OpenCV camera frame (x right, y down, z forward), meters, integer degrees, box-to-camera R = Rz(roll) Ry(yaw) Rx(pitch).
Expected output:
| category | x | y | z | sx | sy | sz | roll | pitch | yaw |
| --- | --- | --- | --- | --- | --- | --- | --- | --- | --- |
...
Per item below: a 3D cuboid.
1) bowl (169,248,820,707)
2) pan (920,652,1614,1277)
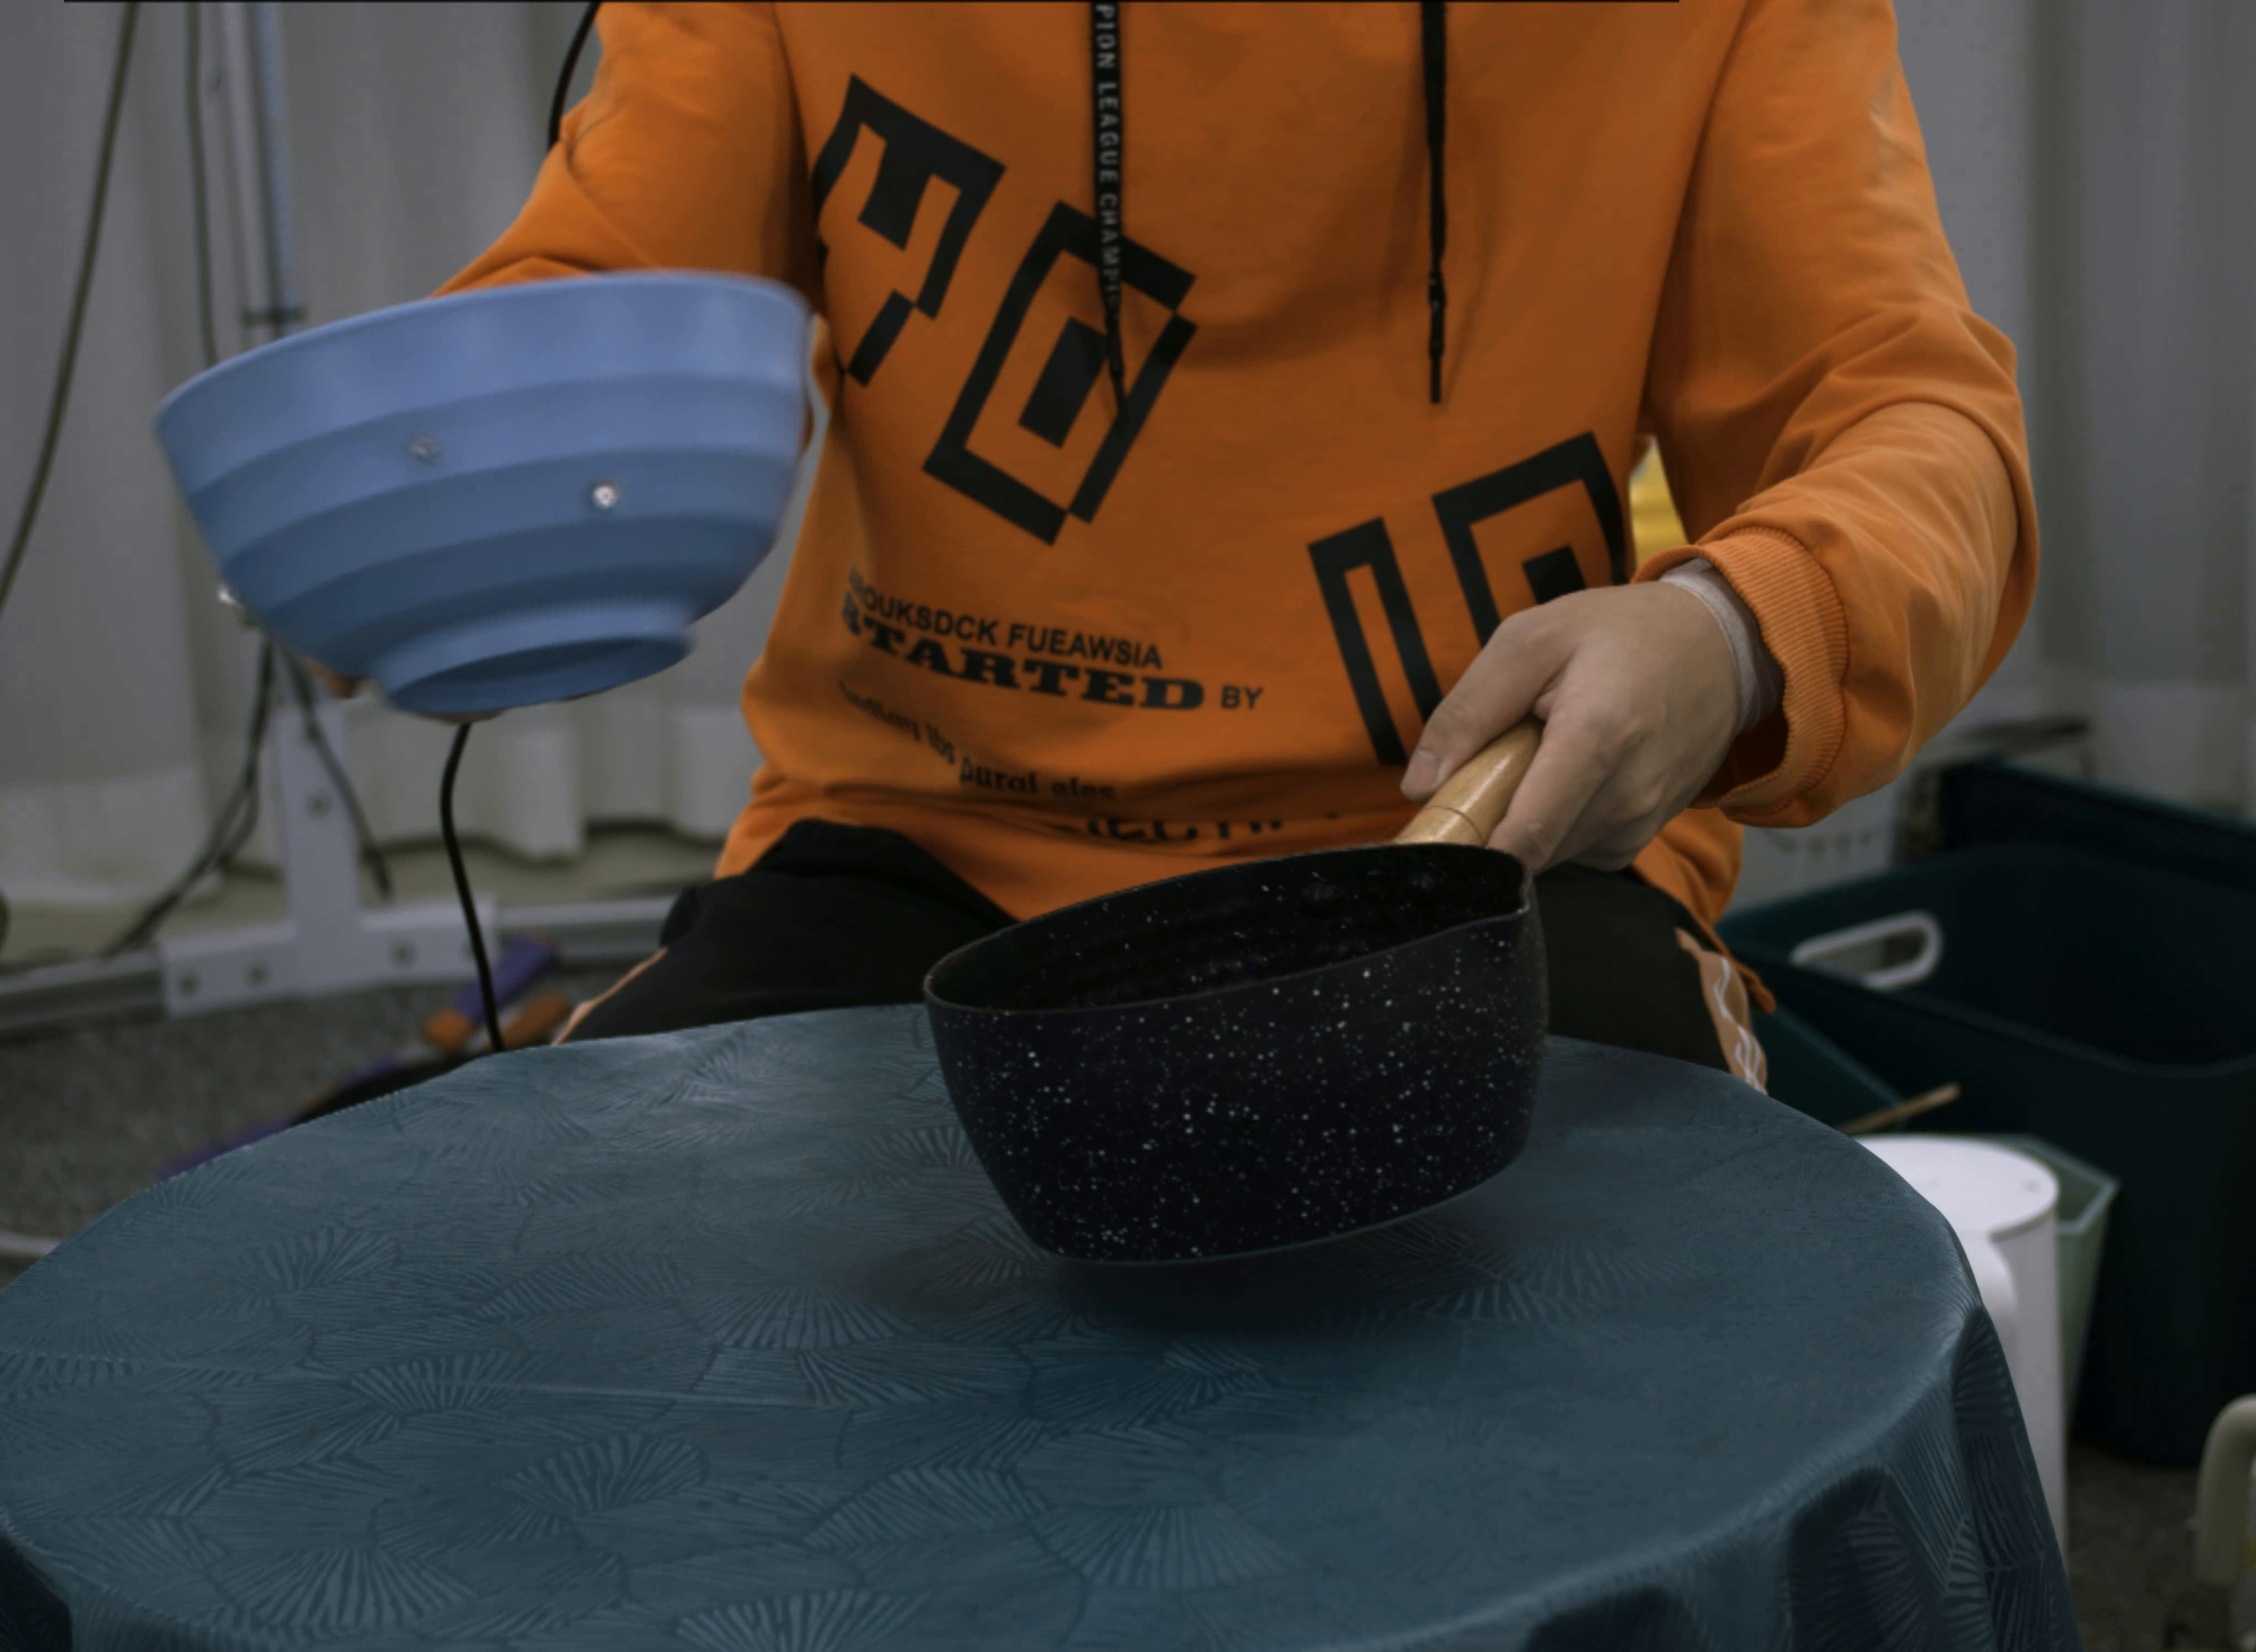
| category | x | y | z | sx | sy | sz | roll | pitch | yaw |
| --- | --- | --- | --- | --- | --- | --- | --- | --- | --- |
| bowl | -0.177 | -0.093 | 1.617 | 0.196 | 0.096 | 0.195 | -13 | -8 | -2 |
| pan | 0.073 | 0.039 | 1.691 | 0.207 | 0.108 | 0.343 | -7 | 12 | 32 |
